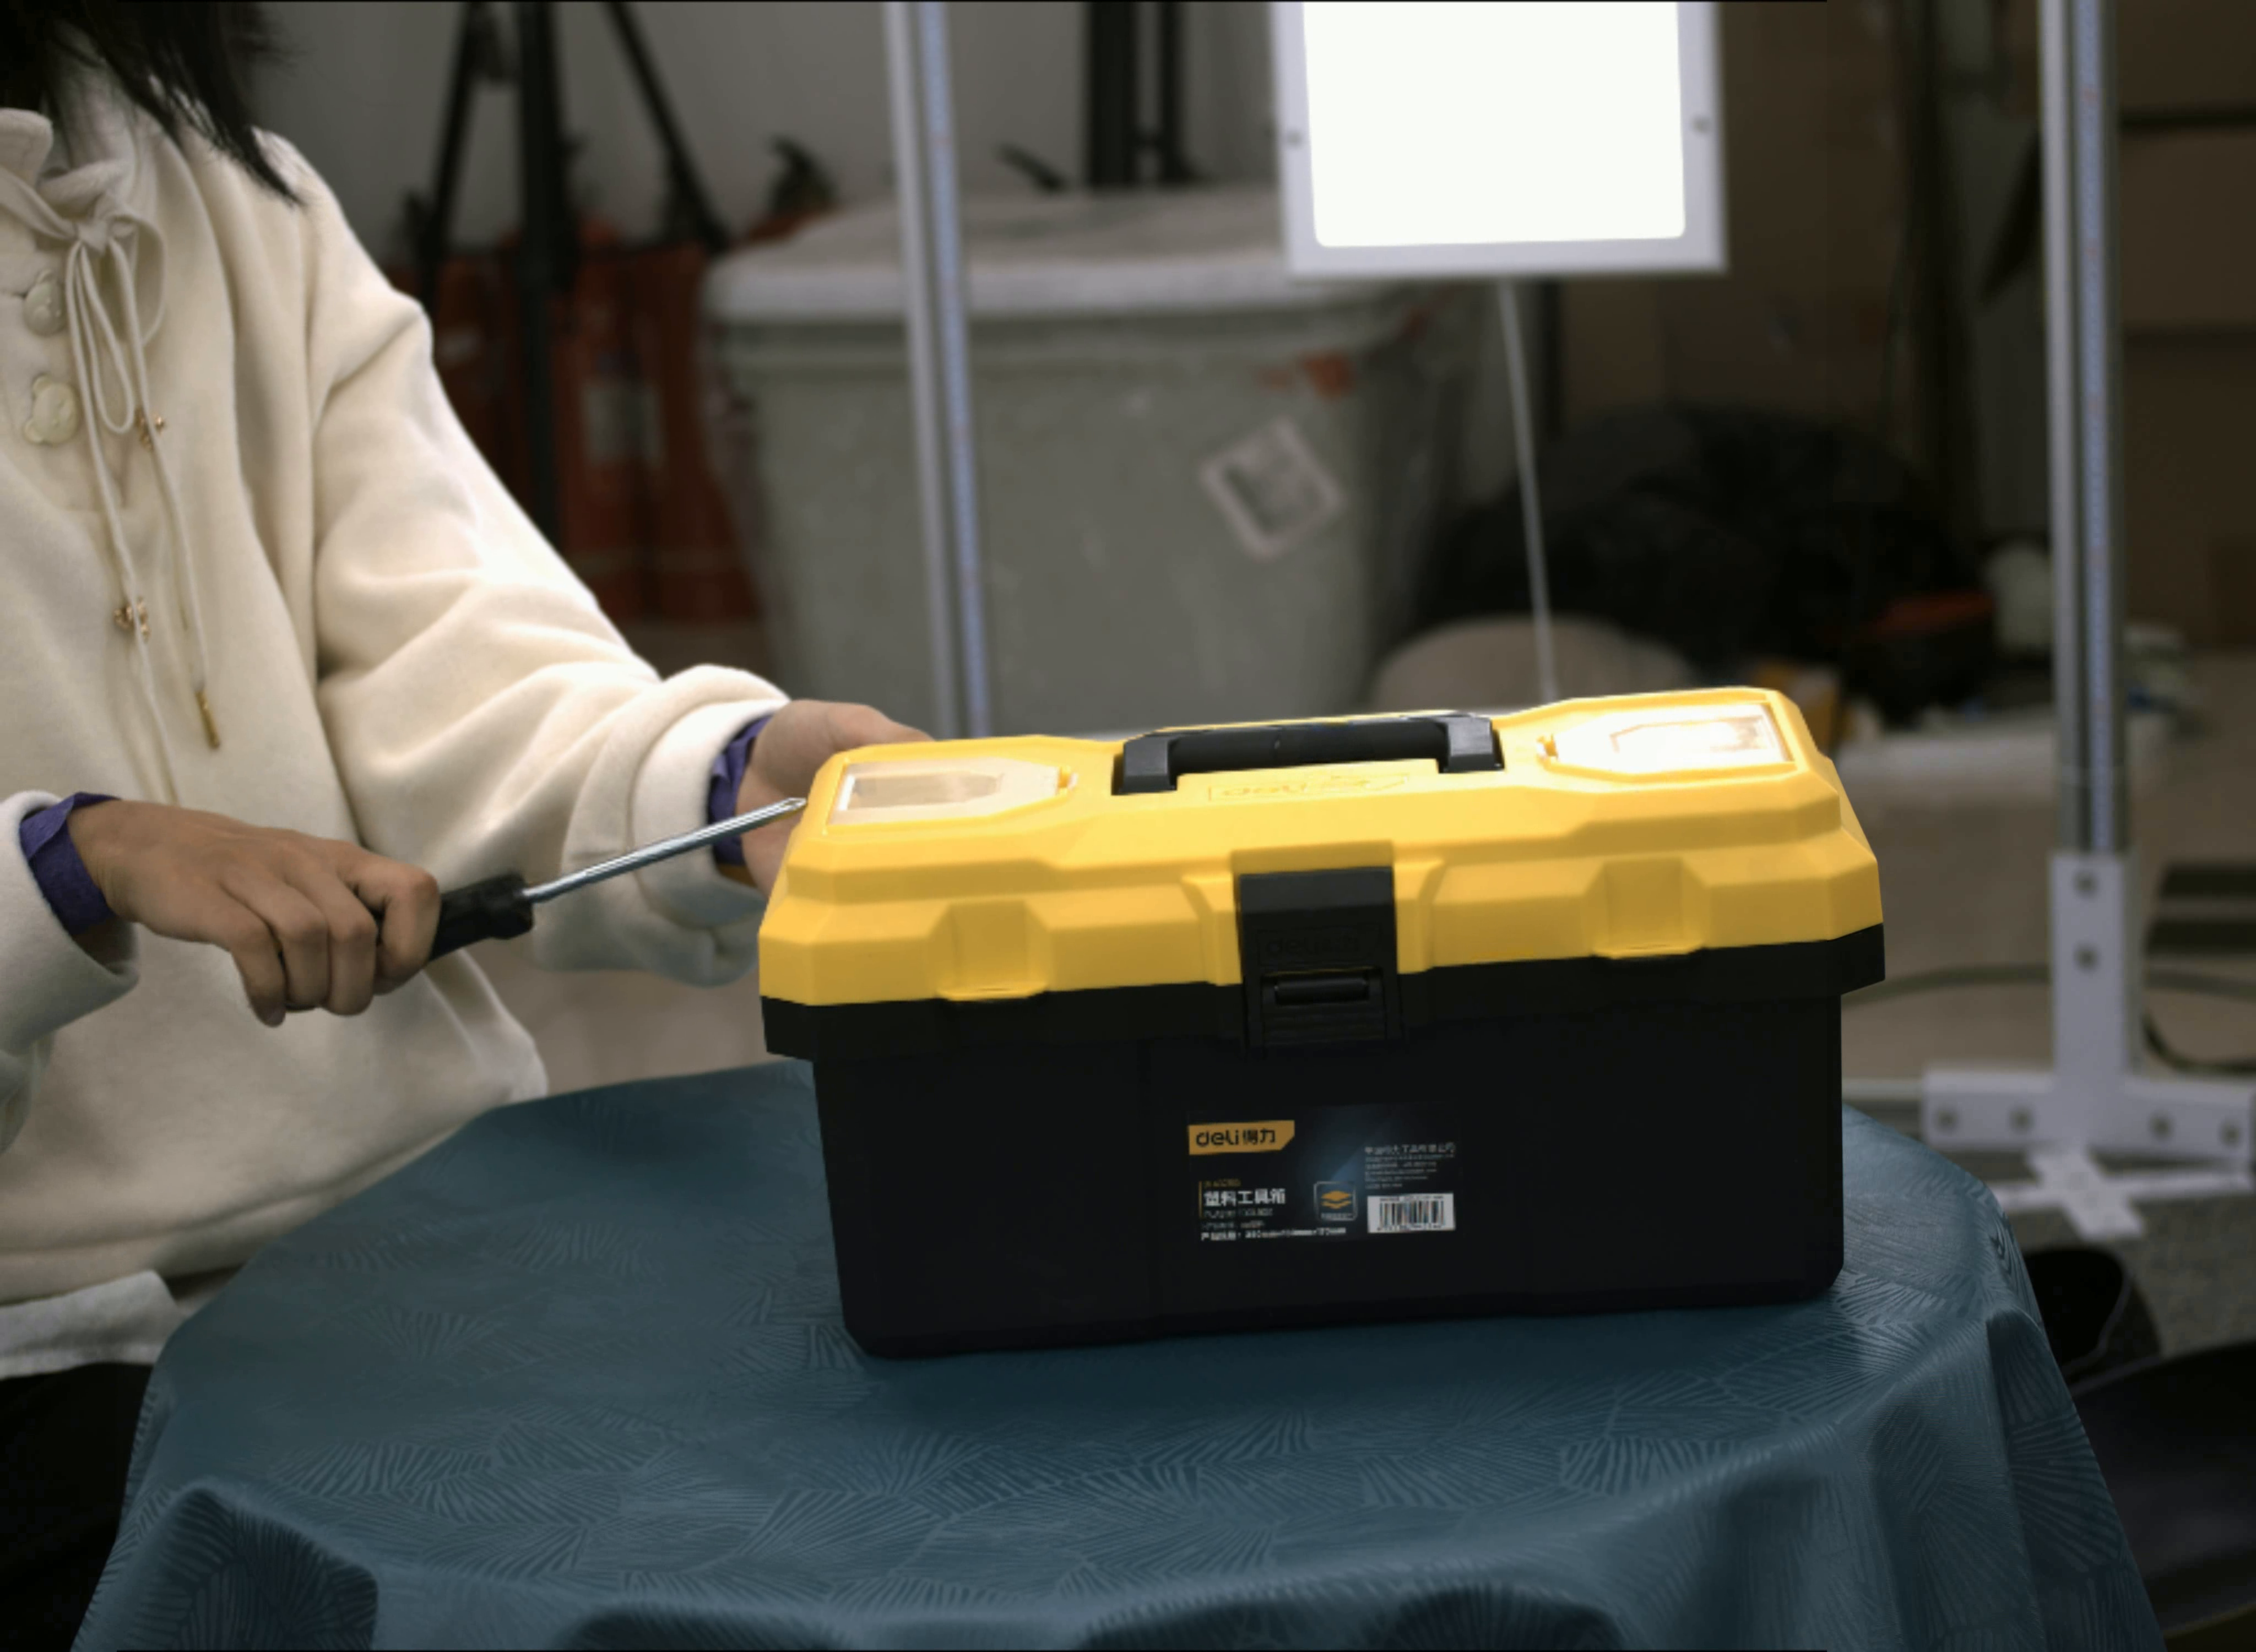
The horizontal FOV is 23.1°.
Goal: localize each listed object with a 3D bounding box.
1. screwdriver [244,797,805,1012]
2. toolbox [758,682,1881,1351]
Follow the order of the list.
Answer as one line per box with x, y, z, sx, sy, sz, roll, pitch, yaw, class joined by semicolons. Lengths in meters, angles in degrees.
-0.198;0.019;1.797;0.198;0.031;0.031;-21;11;13;screwdriver
0.063;0.061;1.776;0.352;0.173;0.180;-4;14;5;toolbox
